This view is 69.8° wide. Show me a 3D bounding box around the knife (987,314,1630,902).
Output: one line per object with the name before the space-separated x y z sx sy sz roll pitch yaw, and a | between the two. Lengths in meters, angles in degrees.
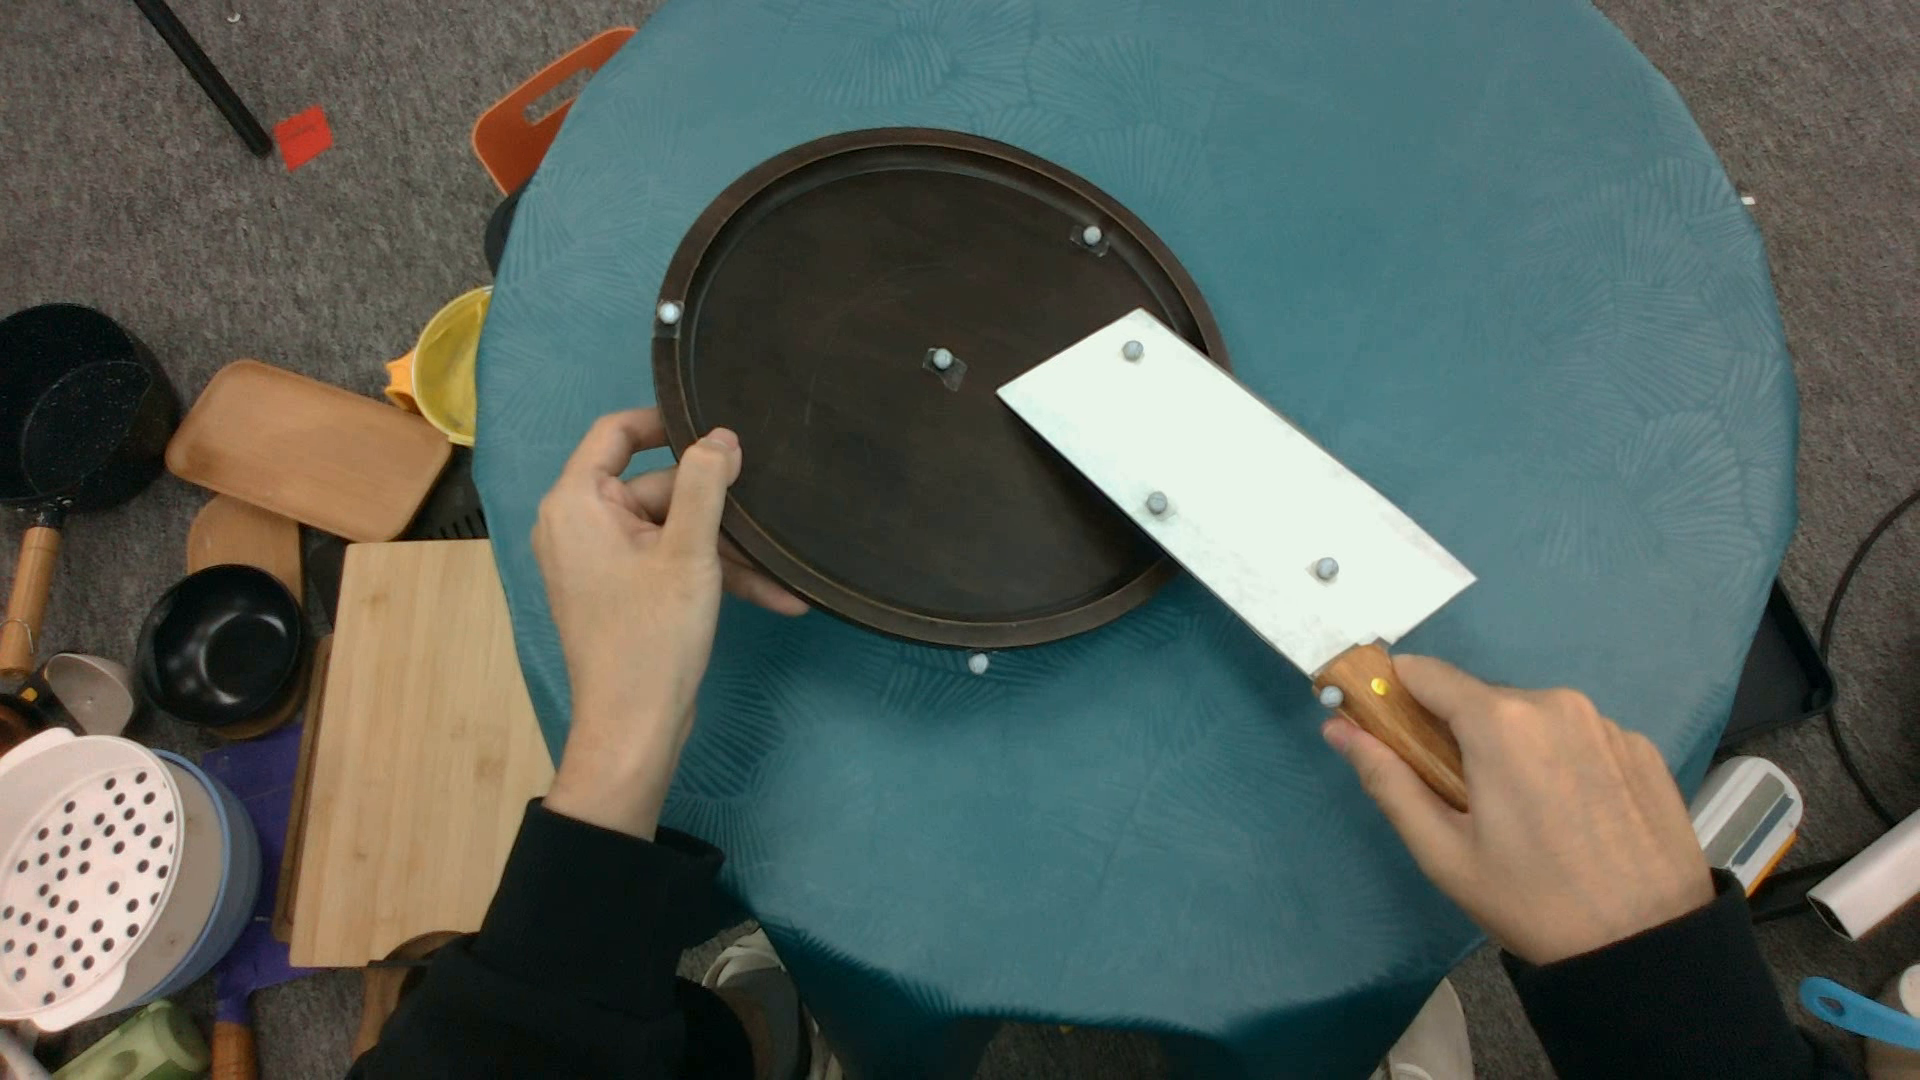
knife | 0.140 0.006 0.542 0.093 0.021 0.306 -33 62 -26

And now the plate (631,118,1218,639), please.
plate | -0.010 -0.075 0.585 0.255 0.029 0.255 6 63 -11
